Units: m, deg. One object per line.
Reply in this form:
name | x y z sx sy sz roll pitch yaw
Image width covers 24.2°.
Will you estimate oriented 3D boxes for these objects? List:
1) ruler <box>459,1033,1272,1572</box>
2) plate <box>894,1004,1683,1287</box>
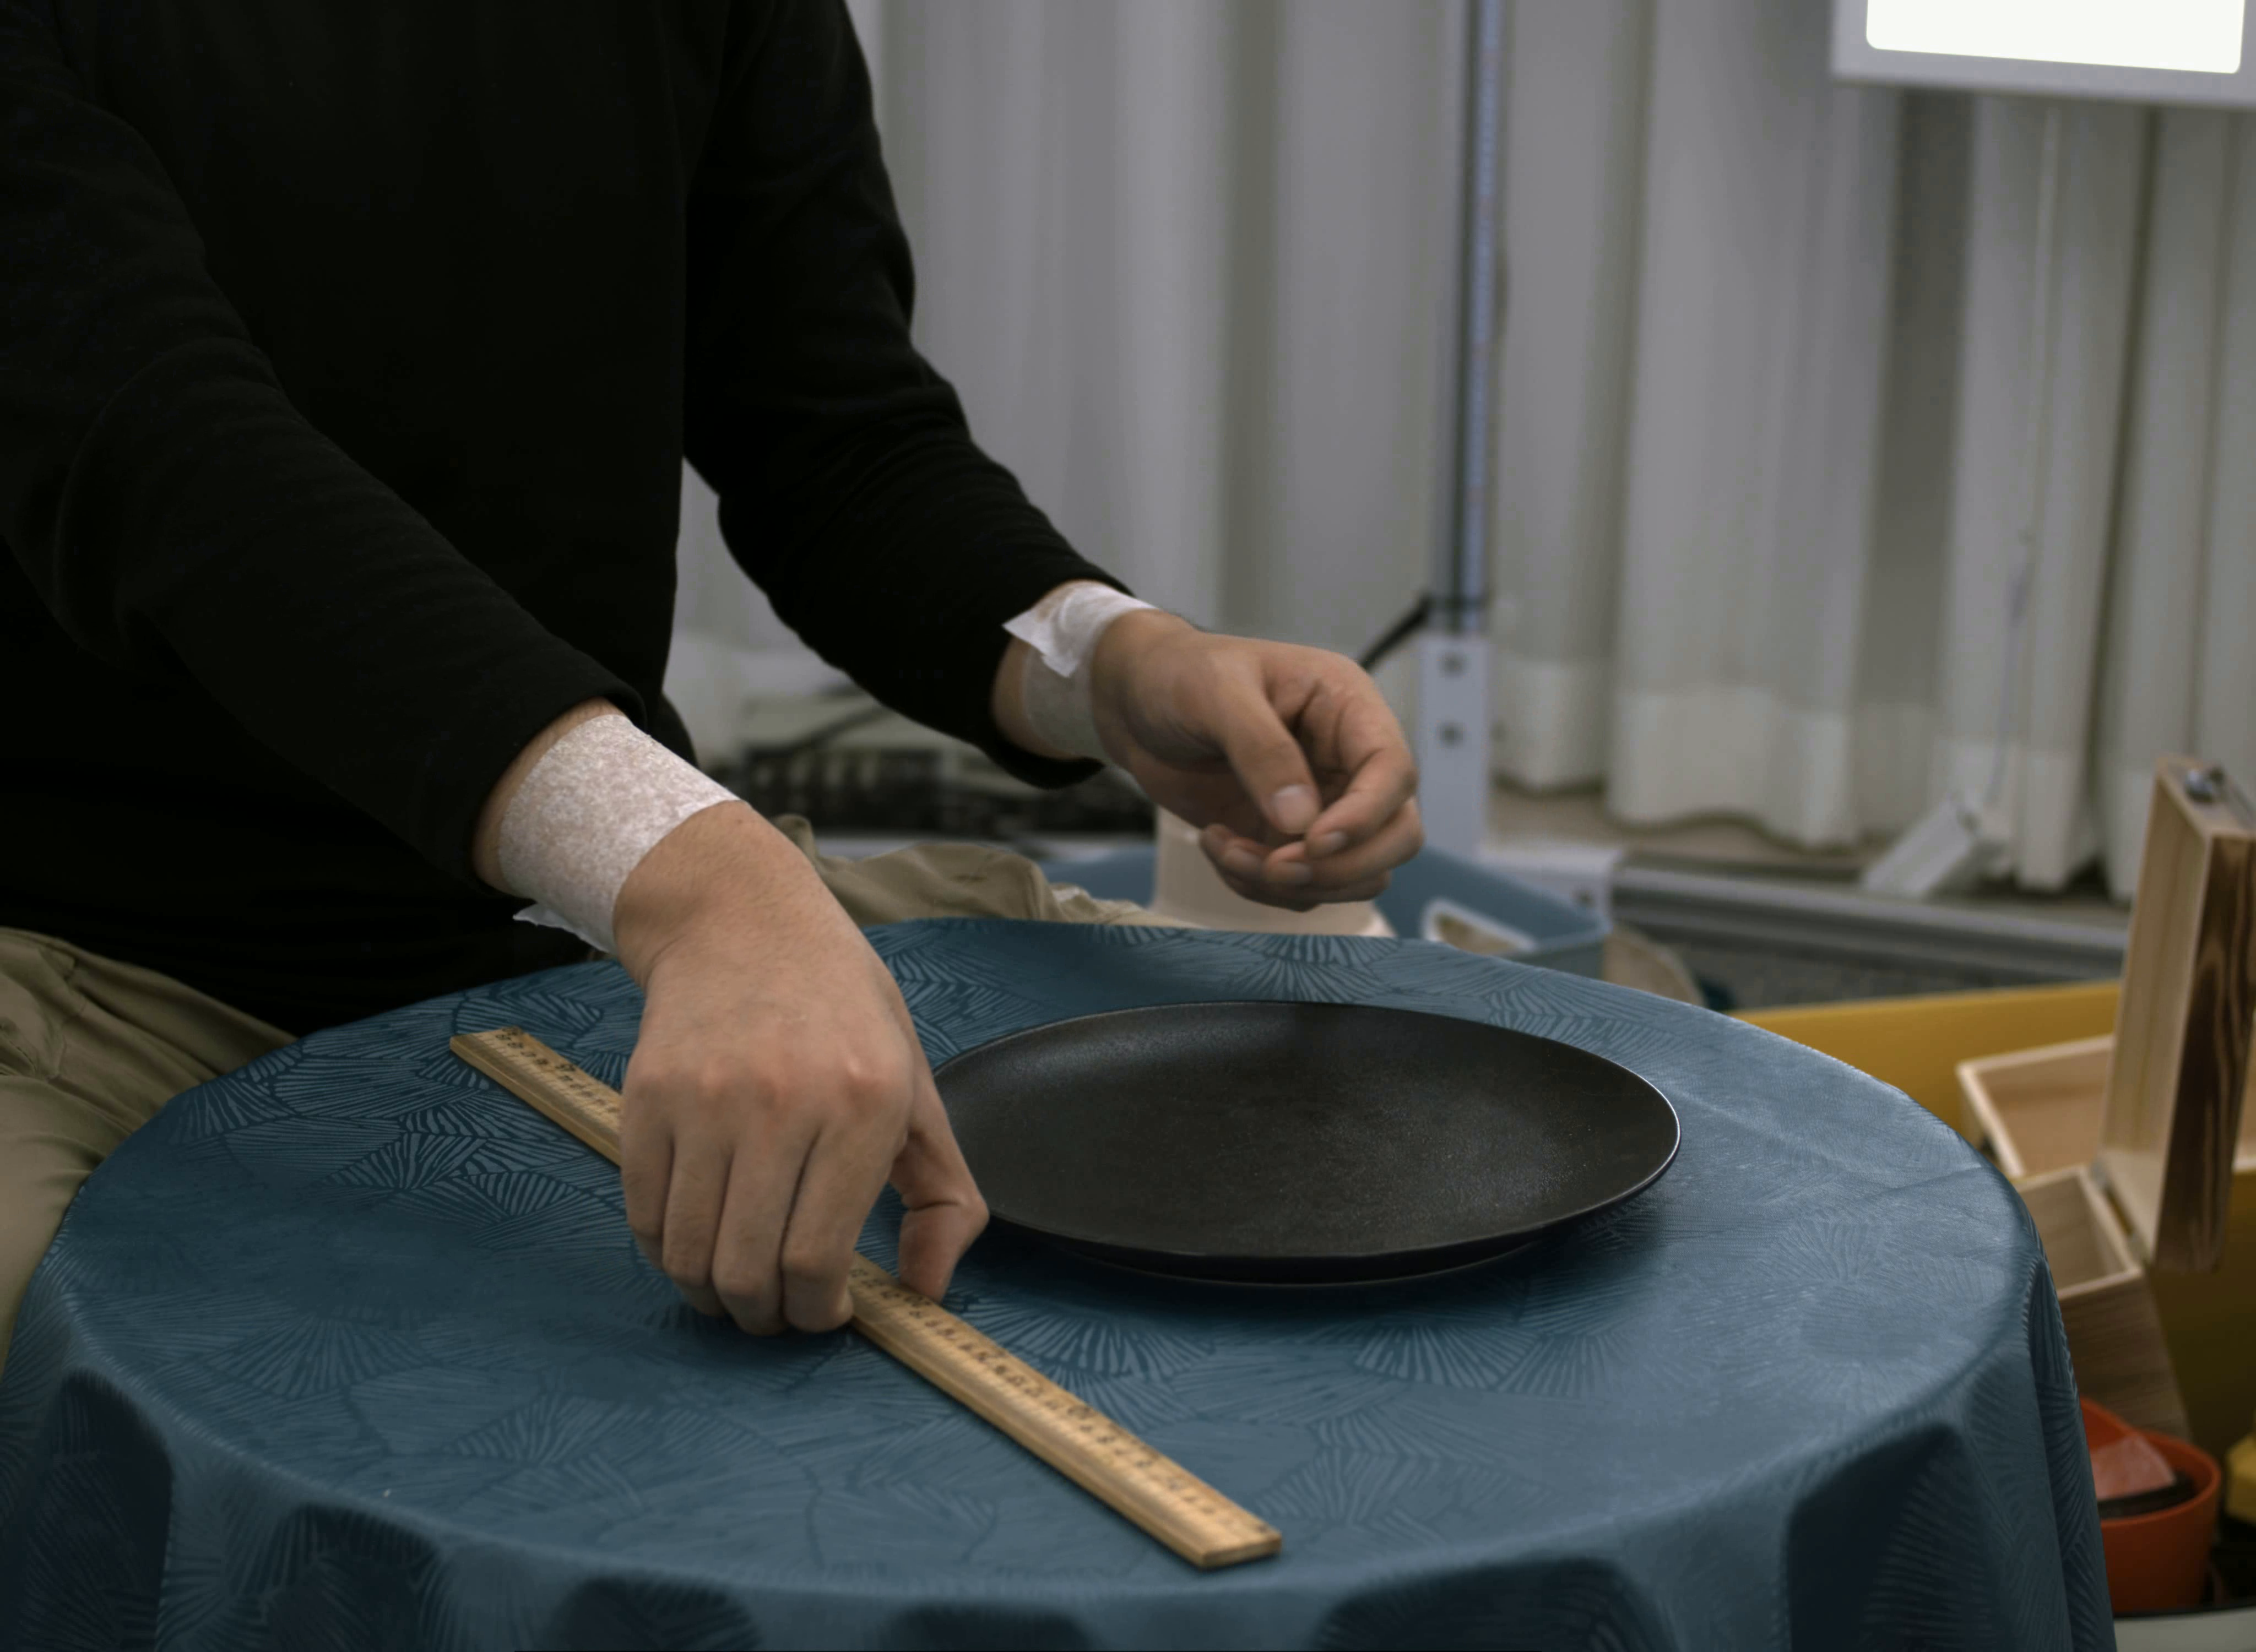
ruler | -0.092 0.129 1.548 0.027 0.006 0.494 -6 17 -28
plate | 0.050 0.100 1.623 0.243 0.023 0.243 0 15 0
